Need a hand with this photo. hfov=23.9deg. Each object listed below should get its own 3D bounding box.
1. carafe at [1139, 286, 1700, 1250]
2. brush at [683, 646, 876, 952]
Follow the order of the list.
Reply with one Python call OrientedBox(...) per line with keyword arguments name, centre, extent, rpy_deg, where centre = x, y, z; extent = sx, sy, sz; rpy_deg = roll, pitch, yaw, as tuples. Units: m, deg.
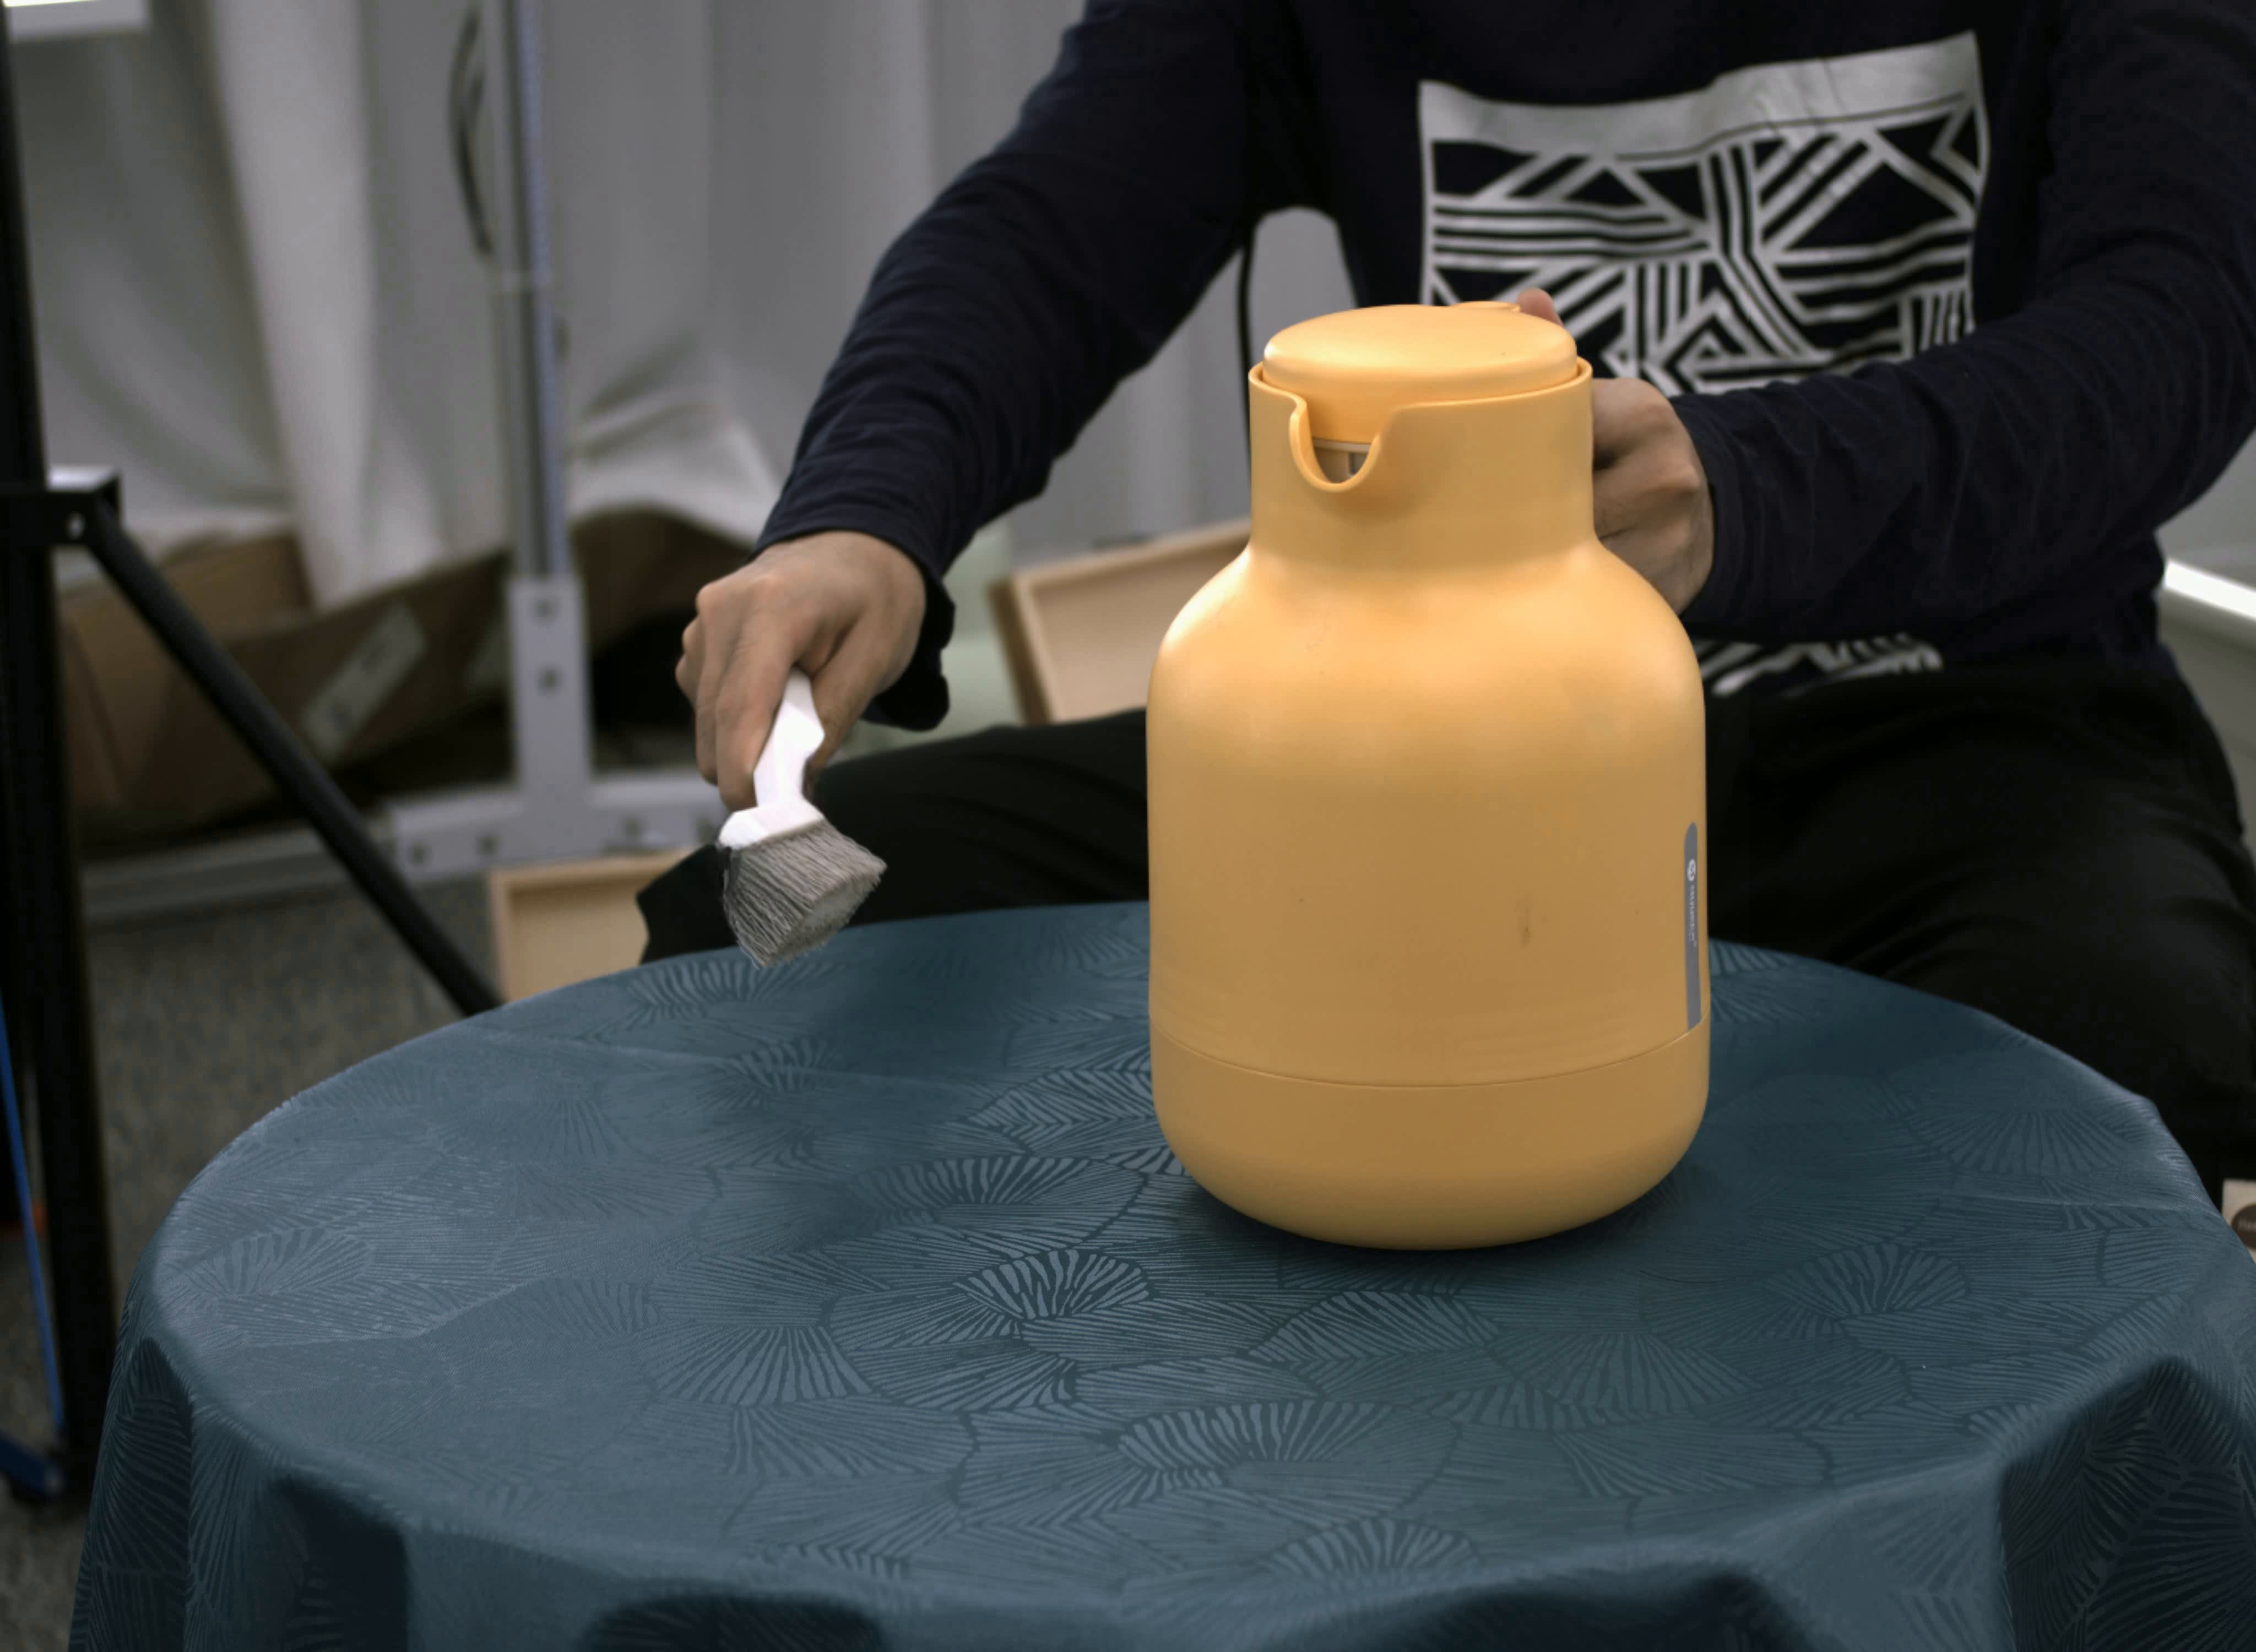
OrientedBox(name="carafe", centre=(0.092, -0.024, 1.536), extent=(0.166, 0.260, 0.199), rpy_deg=(8, 19, 23))
OrientedBox(name="brush", centre=(-0.101, -0.010, 1.647), extent=(0.050, 0.034, 0.244), rpy_deg=(34, 12, -8))
